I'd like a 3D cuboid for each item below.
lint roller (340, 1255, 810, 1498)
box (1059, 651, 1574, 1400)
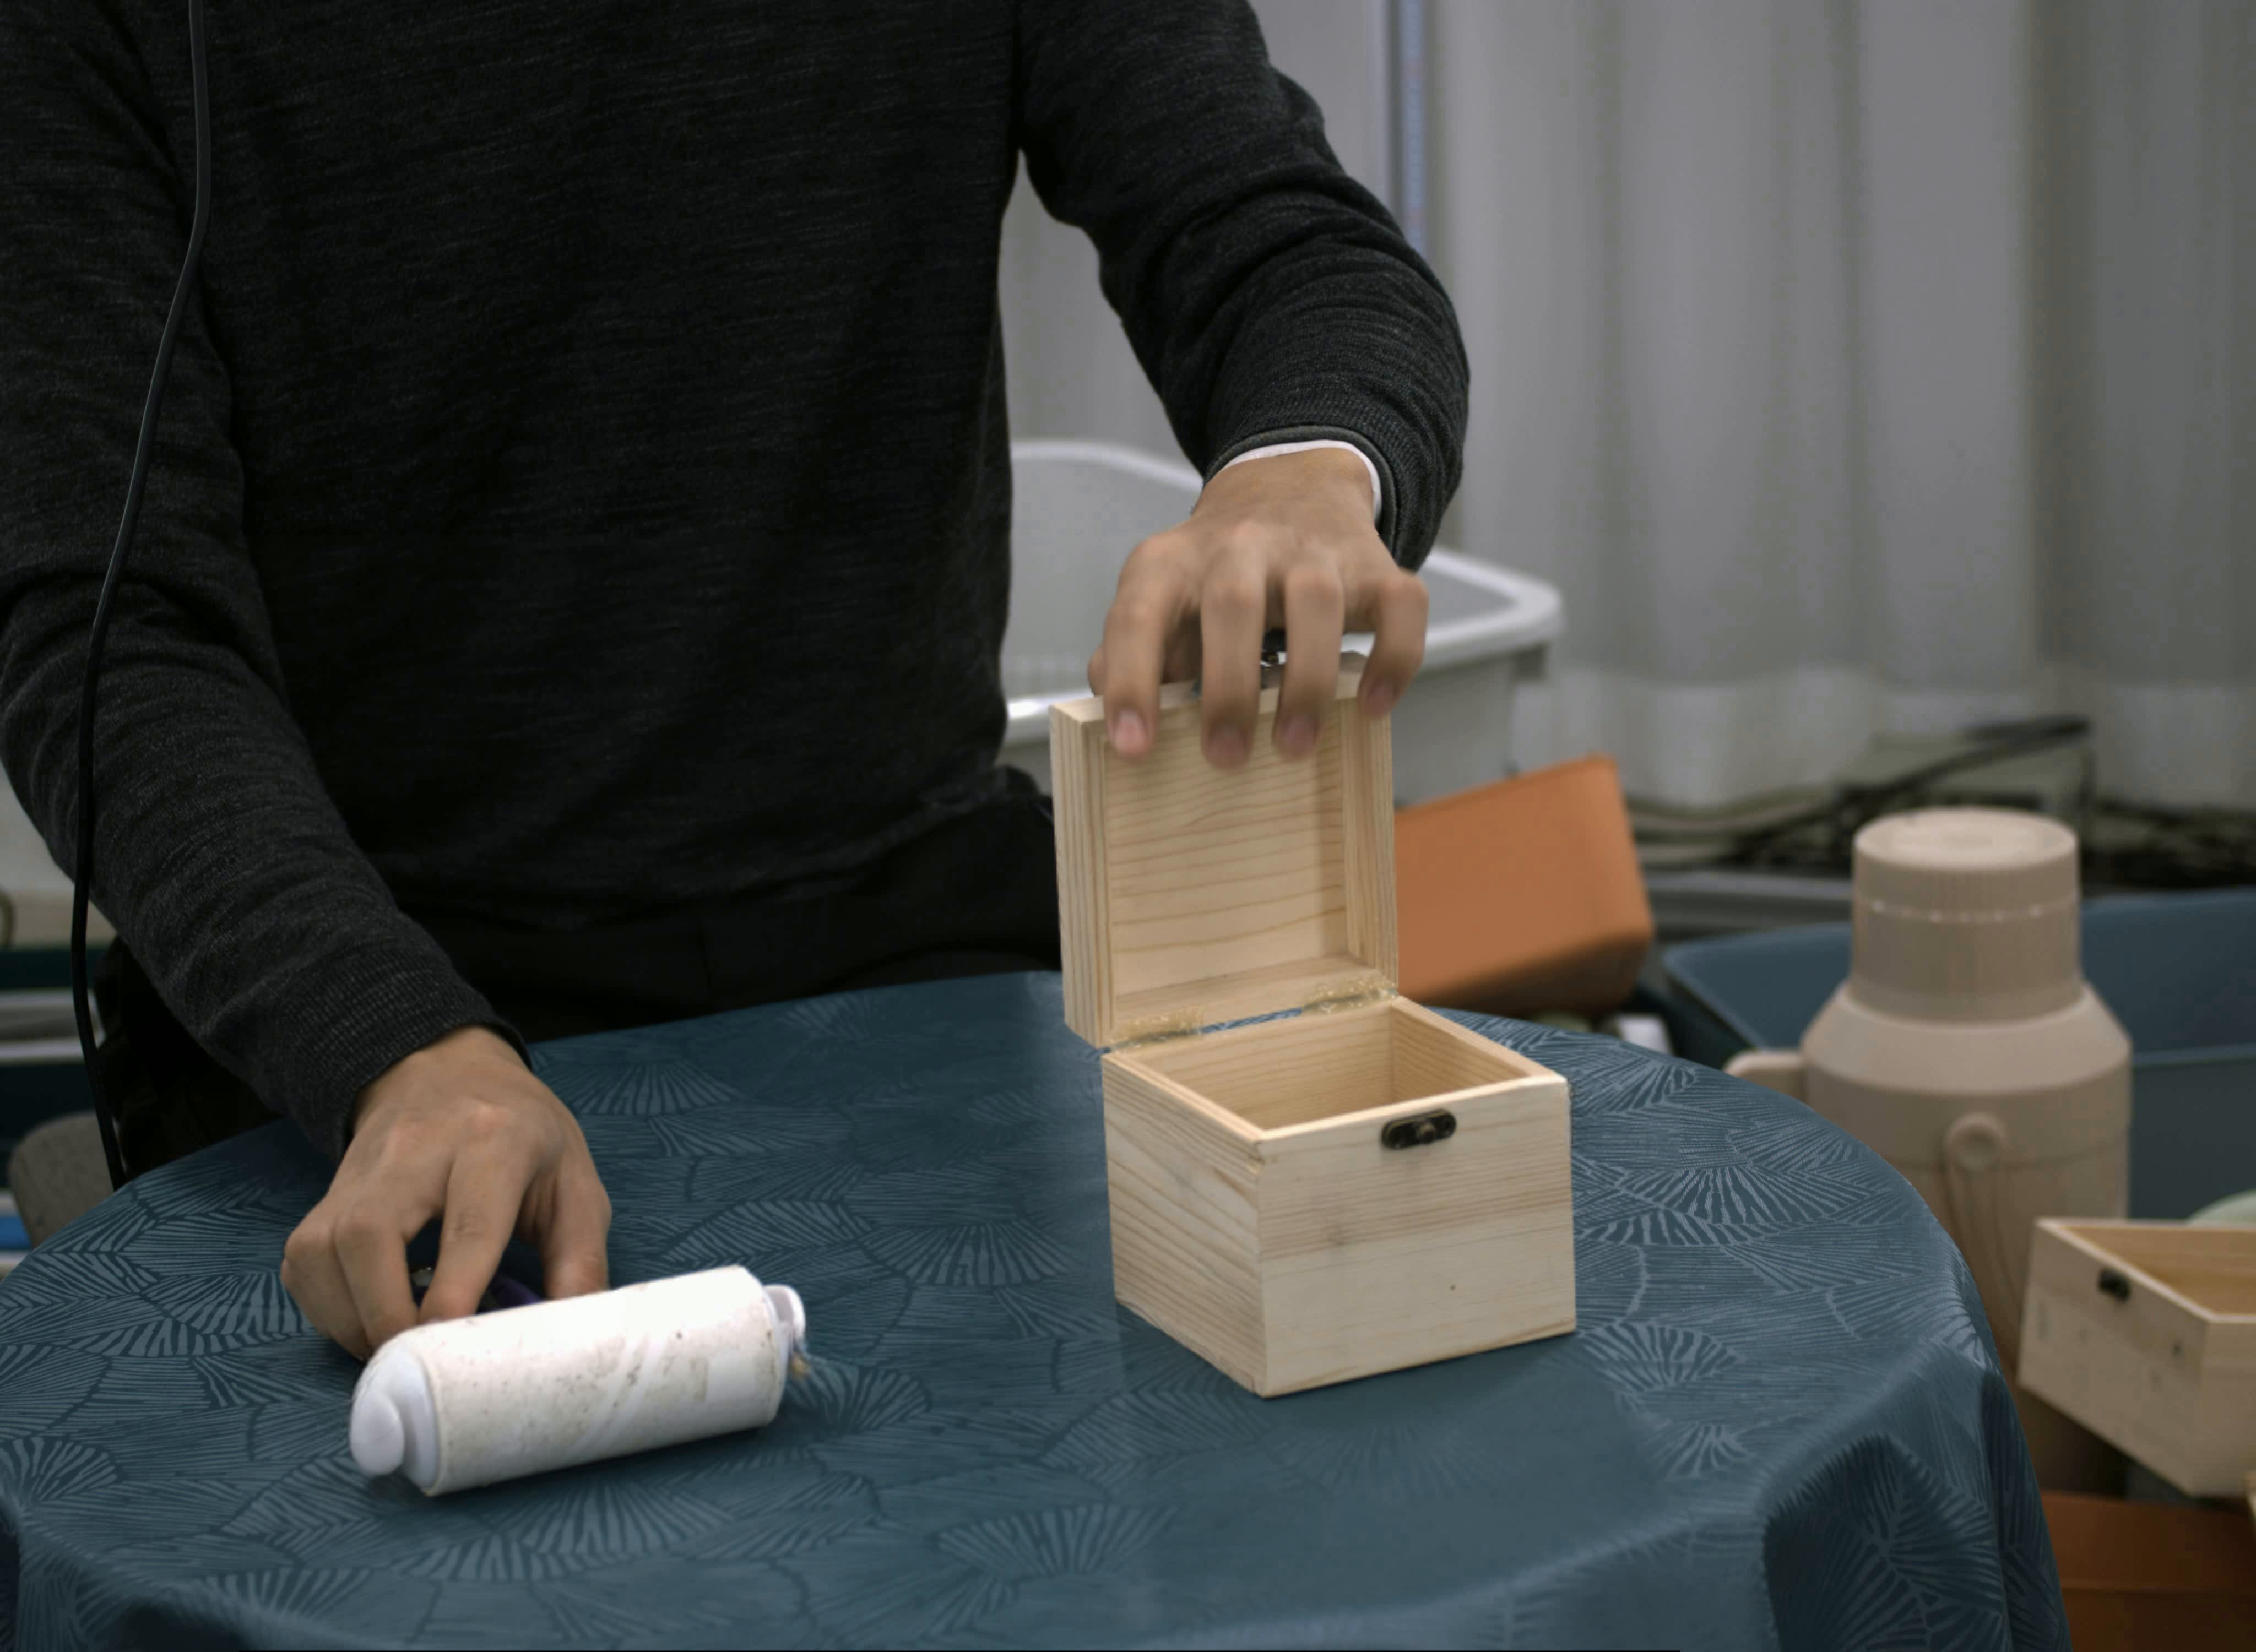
[{"bbox_3d":[-0.177,0.138,1.569,0.132,0.050,0.182,-10,18,-22],"label":"lint roller"},{"bbox_3d":[0.055,0.053,1.580,0.102,0.184,0.135,-9,14,-24],"label":"box"}]
